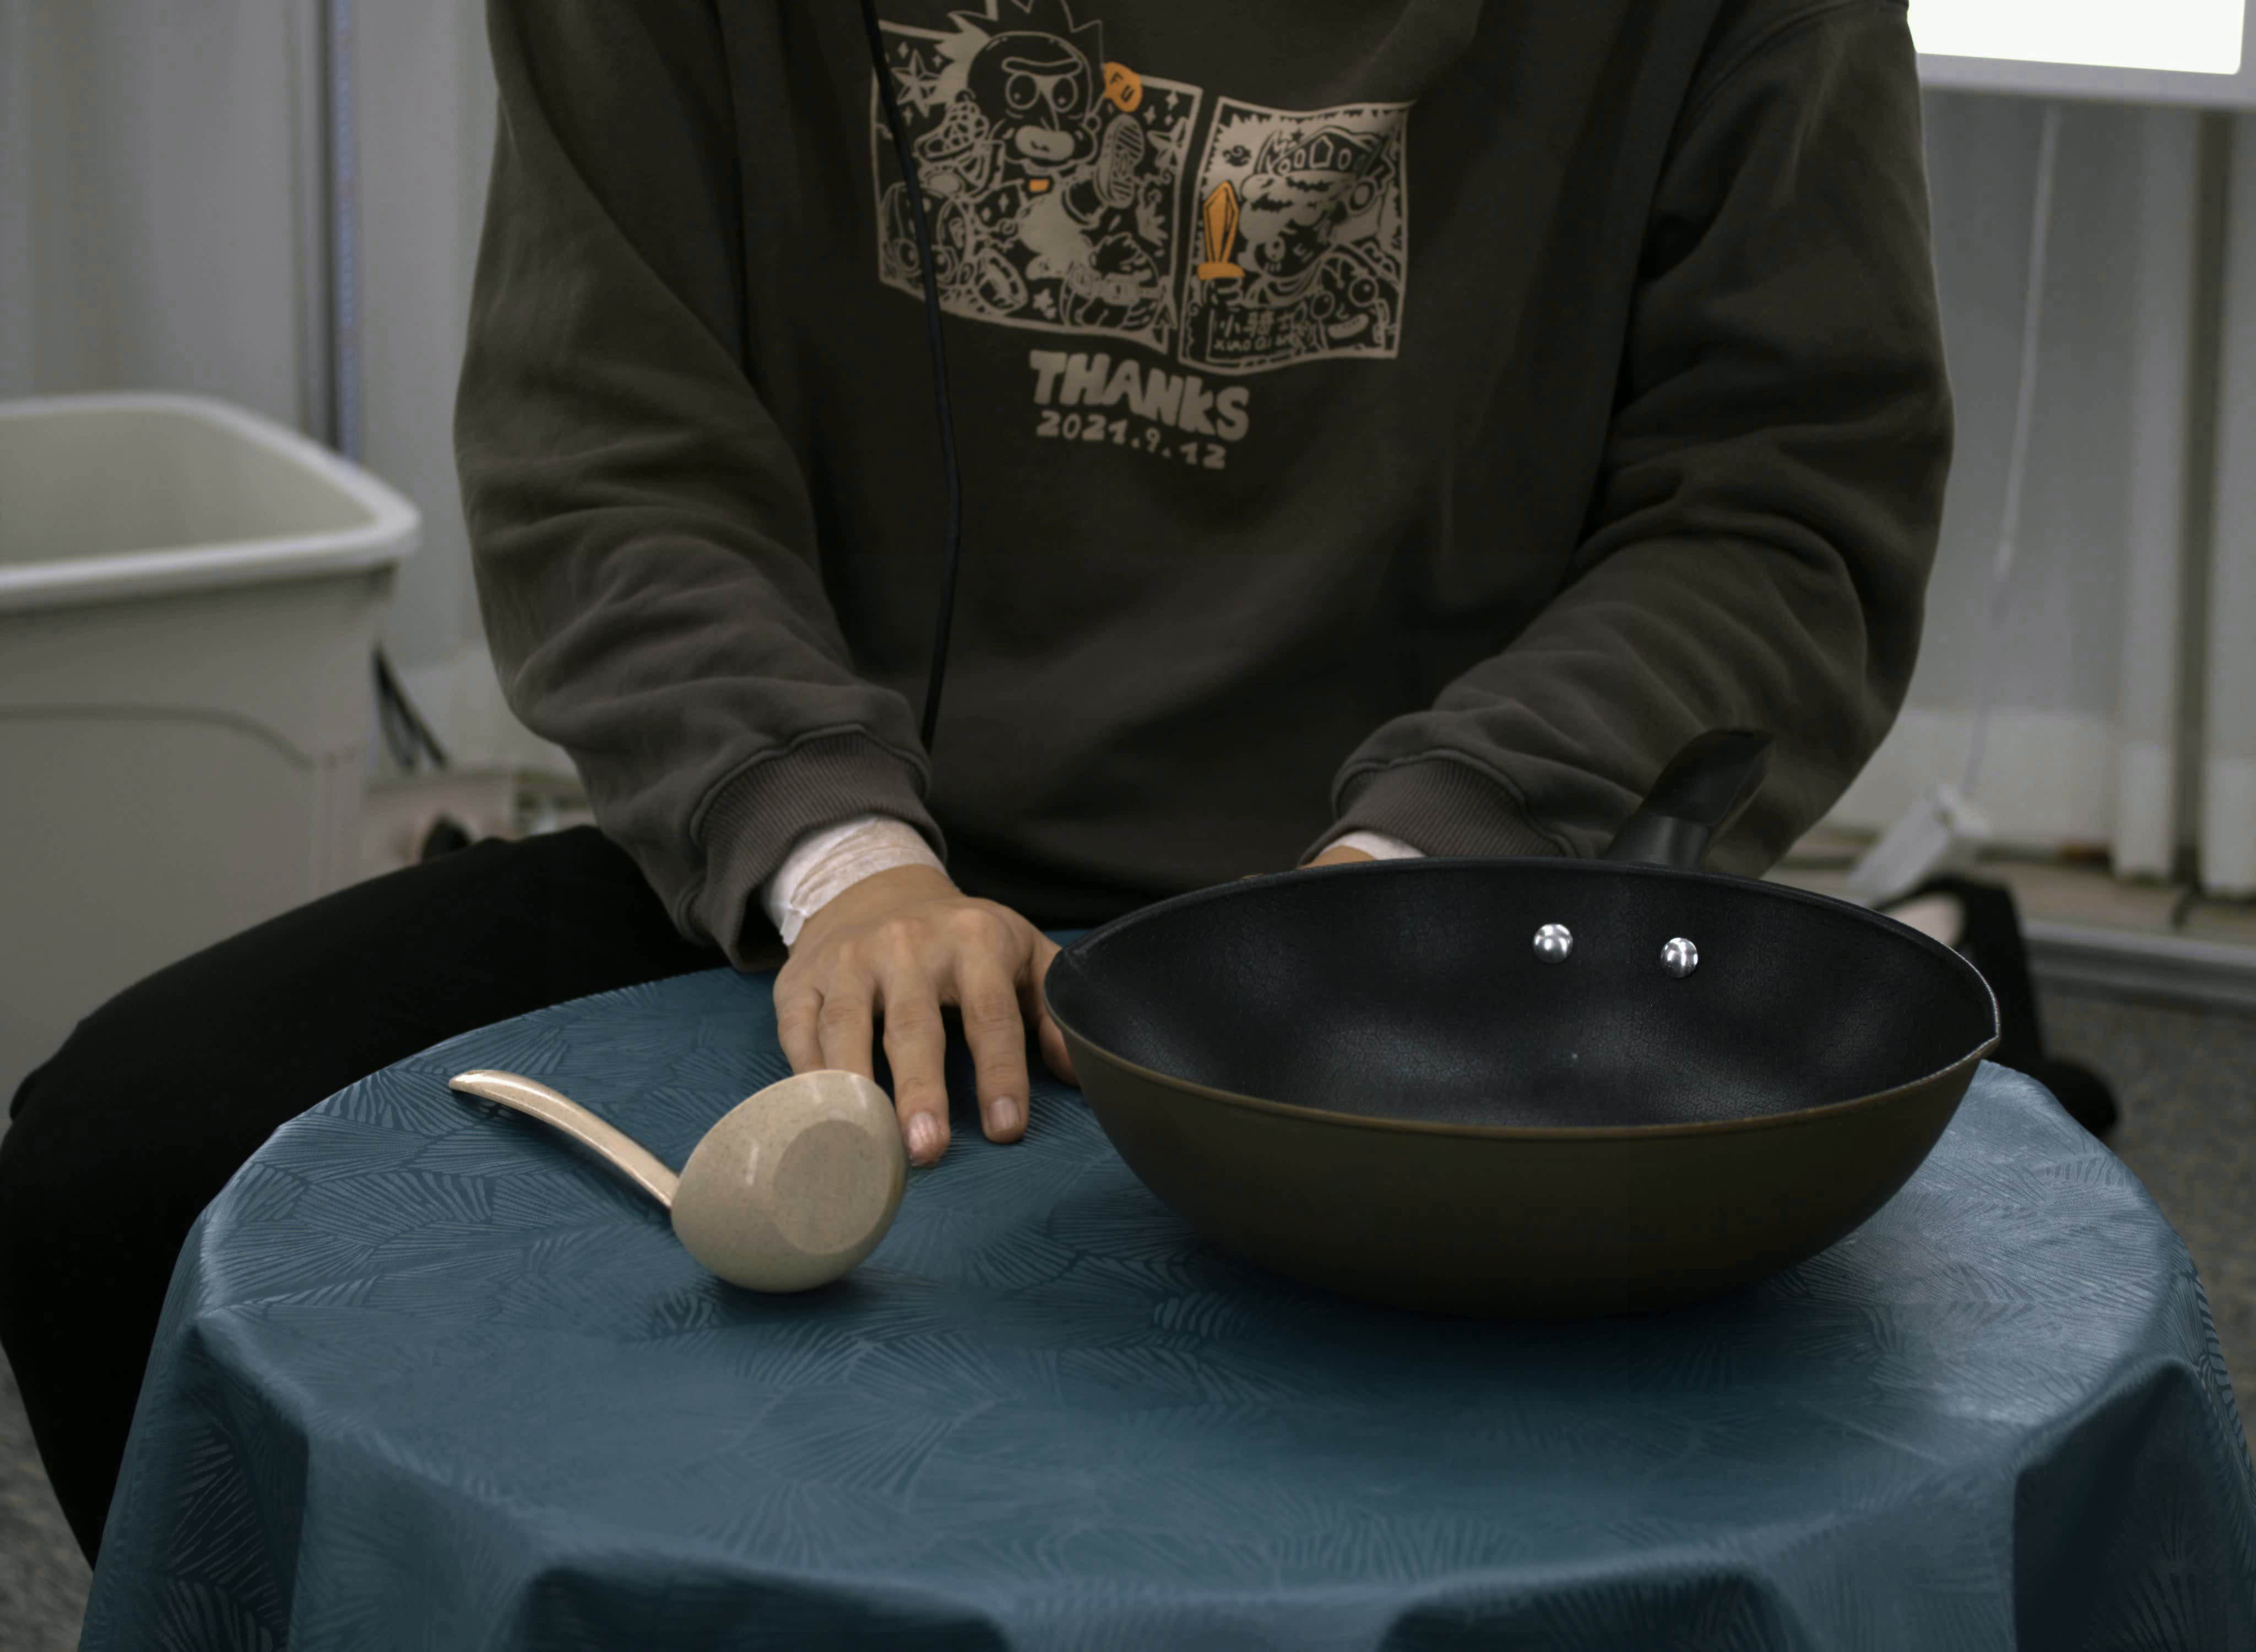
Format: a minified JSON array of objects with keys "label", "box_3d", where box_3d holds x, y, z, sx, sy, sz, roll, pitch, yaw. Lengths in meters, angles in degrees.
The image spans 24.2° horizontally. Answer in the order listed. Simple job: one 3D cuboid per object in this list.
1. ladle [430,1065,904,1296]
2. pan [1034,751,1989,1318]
[{"label":"ladle","box_3d":[-0.154,0.078,1.610,0.072,0.073,0.251,-12,21,-32]},{"label":"pan","box_3d":[0.142,0.062,1.662,0.285,0.087,0.463,5,15,18]}]
